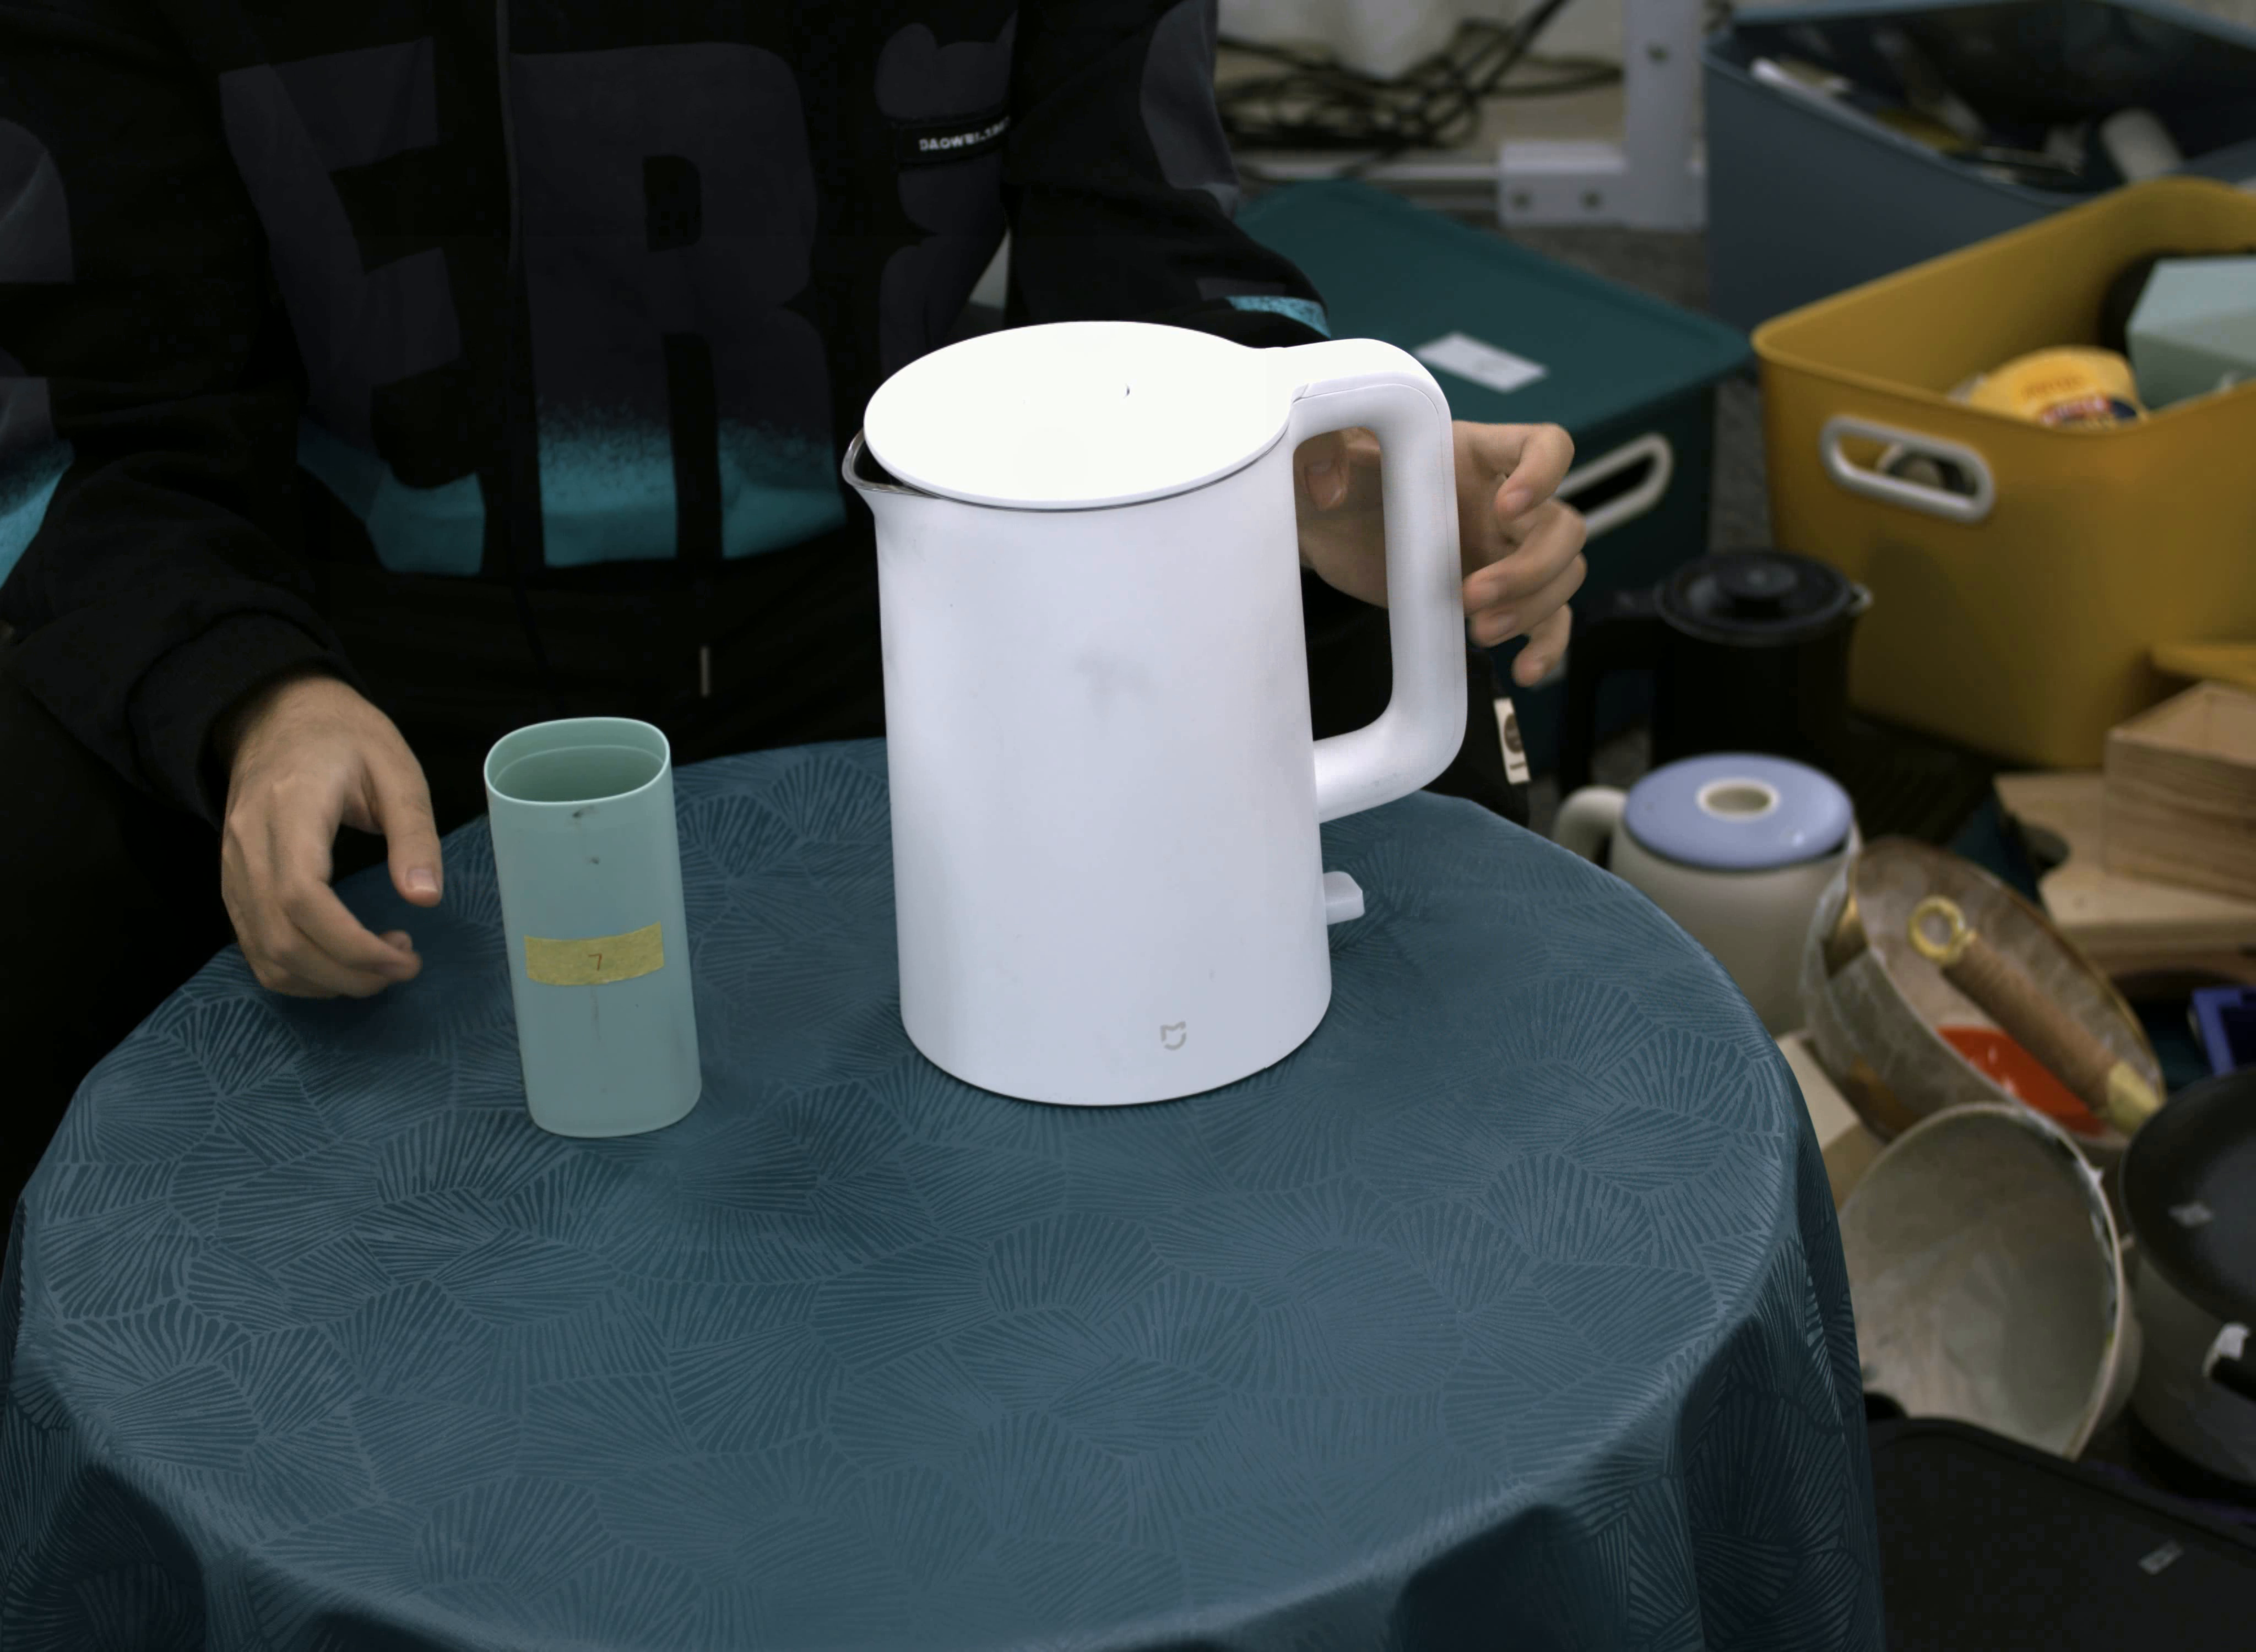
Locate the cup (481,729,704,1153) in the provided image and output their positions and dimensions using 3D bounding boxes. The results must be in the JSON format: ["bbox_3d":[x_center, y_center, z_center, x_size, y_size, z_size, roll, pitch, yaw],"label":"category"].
[{"bbox_3d":[-0.180,0.039,1.905,0.066,0.131,0.068,-3,27,2],"label":"cup"}]

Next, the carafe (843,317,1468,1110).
[{"bbox_3d":[0.014,-0.044,1.930,0.213,0.237,0.153,-12,29,-15],"label":"carafe"}]
